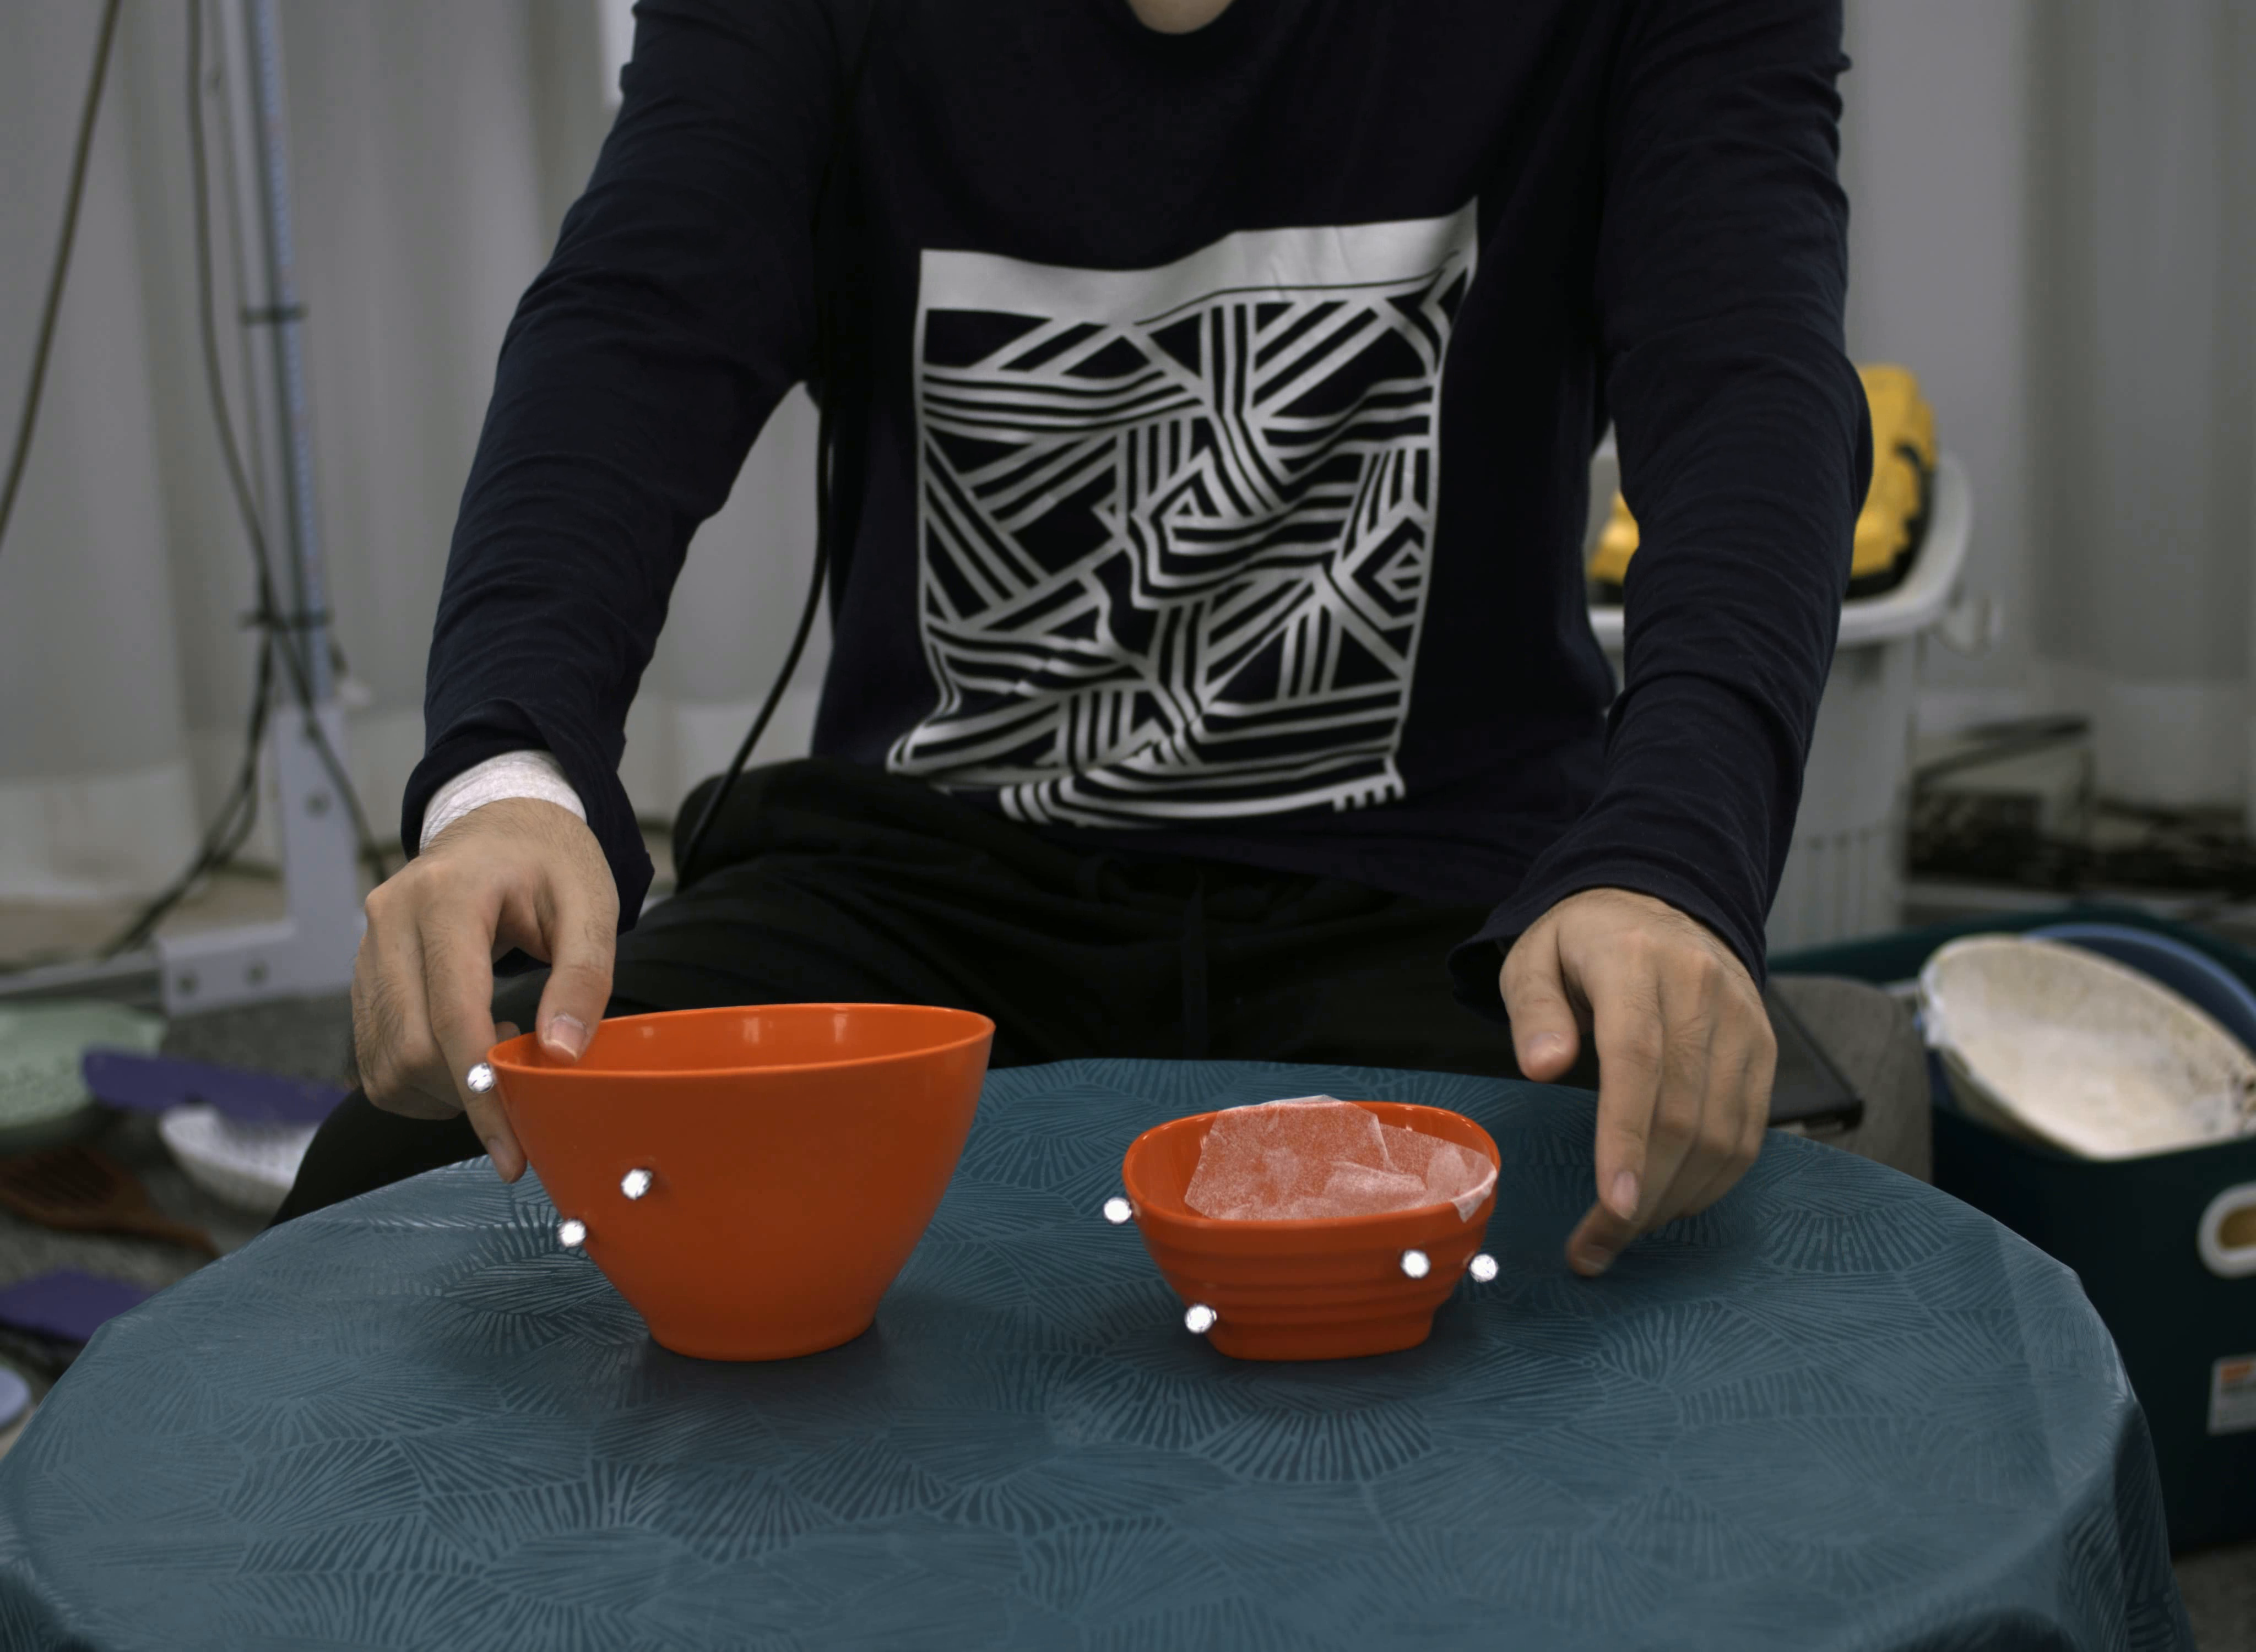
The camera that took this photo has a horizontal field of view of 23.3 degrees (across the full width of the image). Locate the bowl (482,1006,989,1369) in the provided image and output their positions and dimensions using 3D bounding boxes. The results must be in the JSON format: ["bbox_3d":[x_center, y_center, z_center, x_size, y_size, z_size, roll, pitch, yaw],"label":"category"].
[{"bbox_3d":[-0.111,0.102,1.593,0.147,0.104,0.149,-3,14,0],"label":"bowl"}]

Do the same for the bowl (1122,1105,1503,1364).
[{"bbox_3d":[0.055,0.121,1.589,0.118,0.051,0.119,-4,13,1],"label":"bowl"}]
